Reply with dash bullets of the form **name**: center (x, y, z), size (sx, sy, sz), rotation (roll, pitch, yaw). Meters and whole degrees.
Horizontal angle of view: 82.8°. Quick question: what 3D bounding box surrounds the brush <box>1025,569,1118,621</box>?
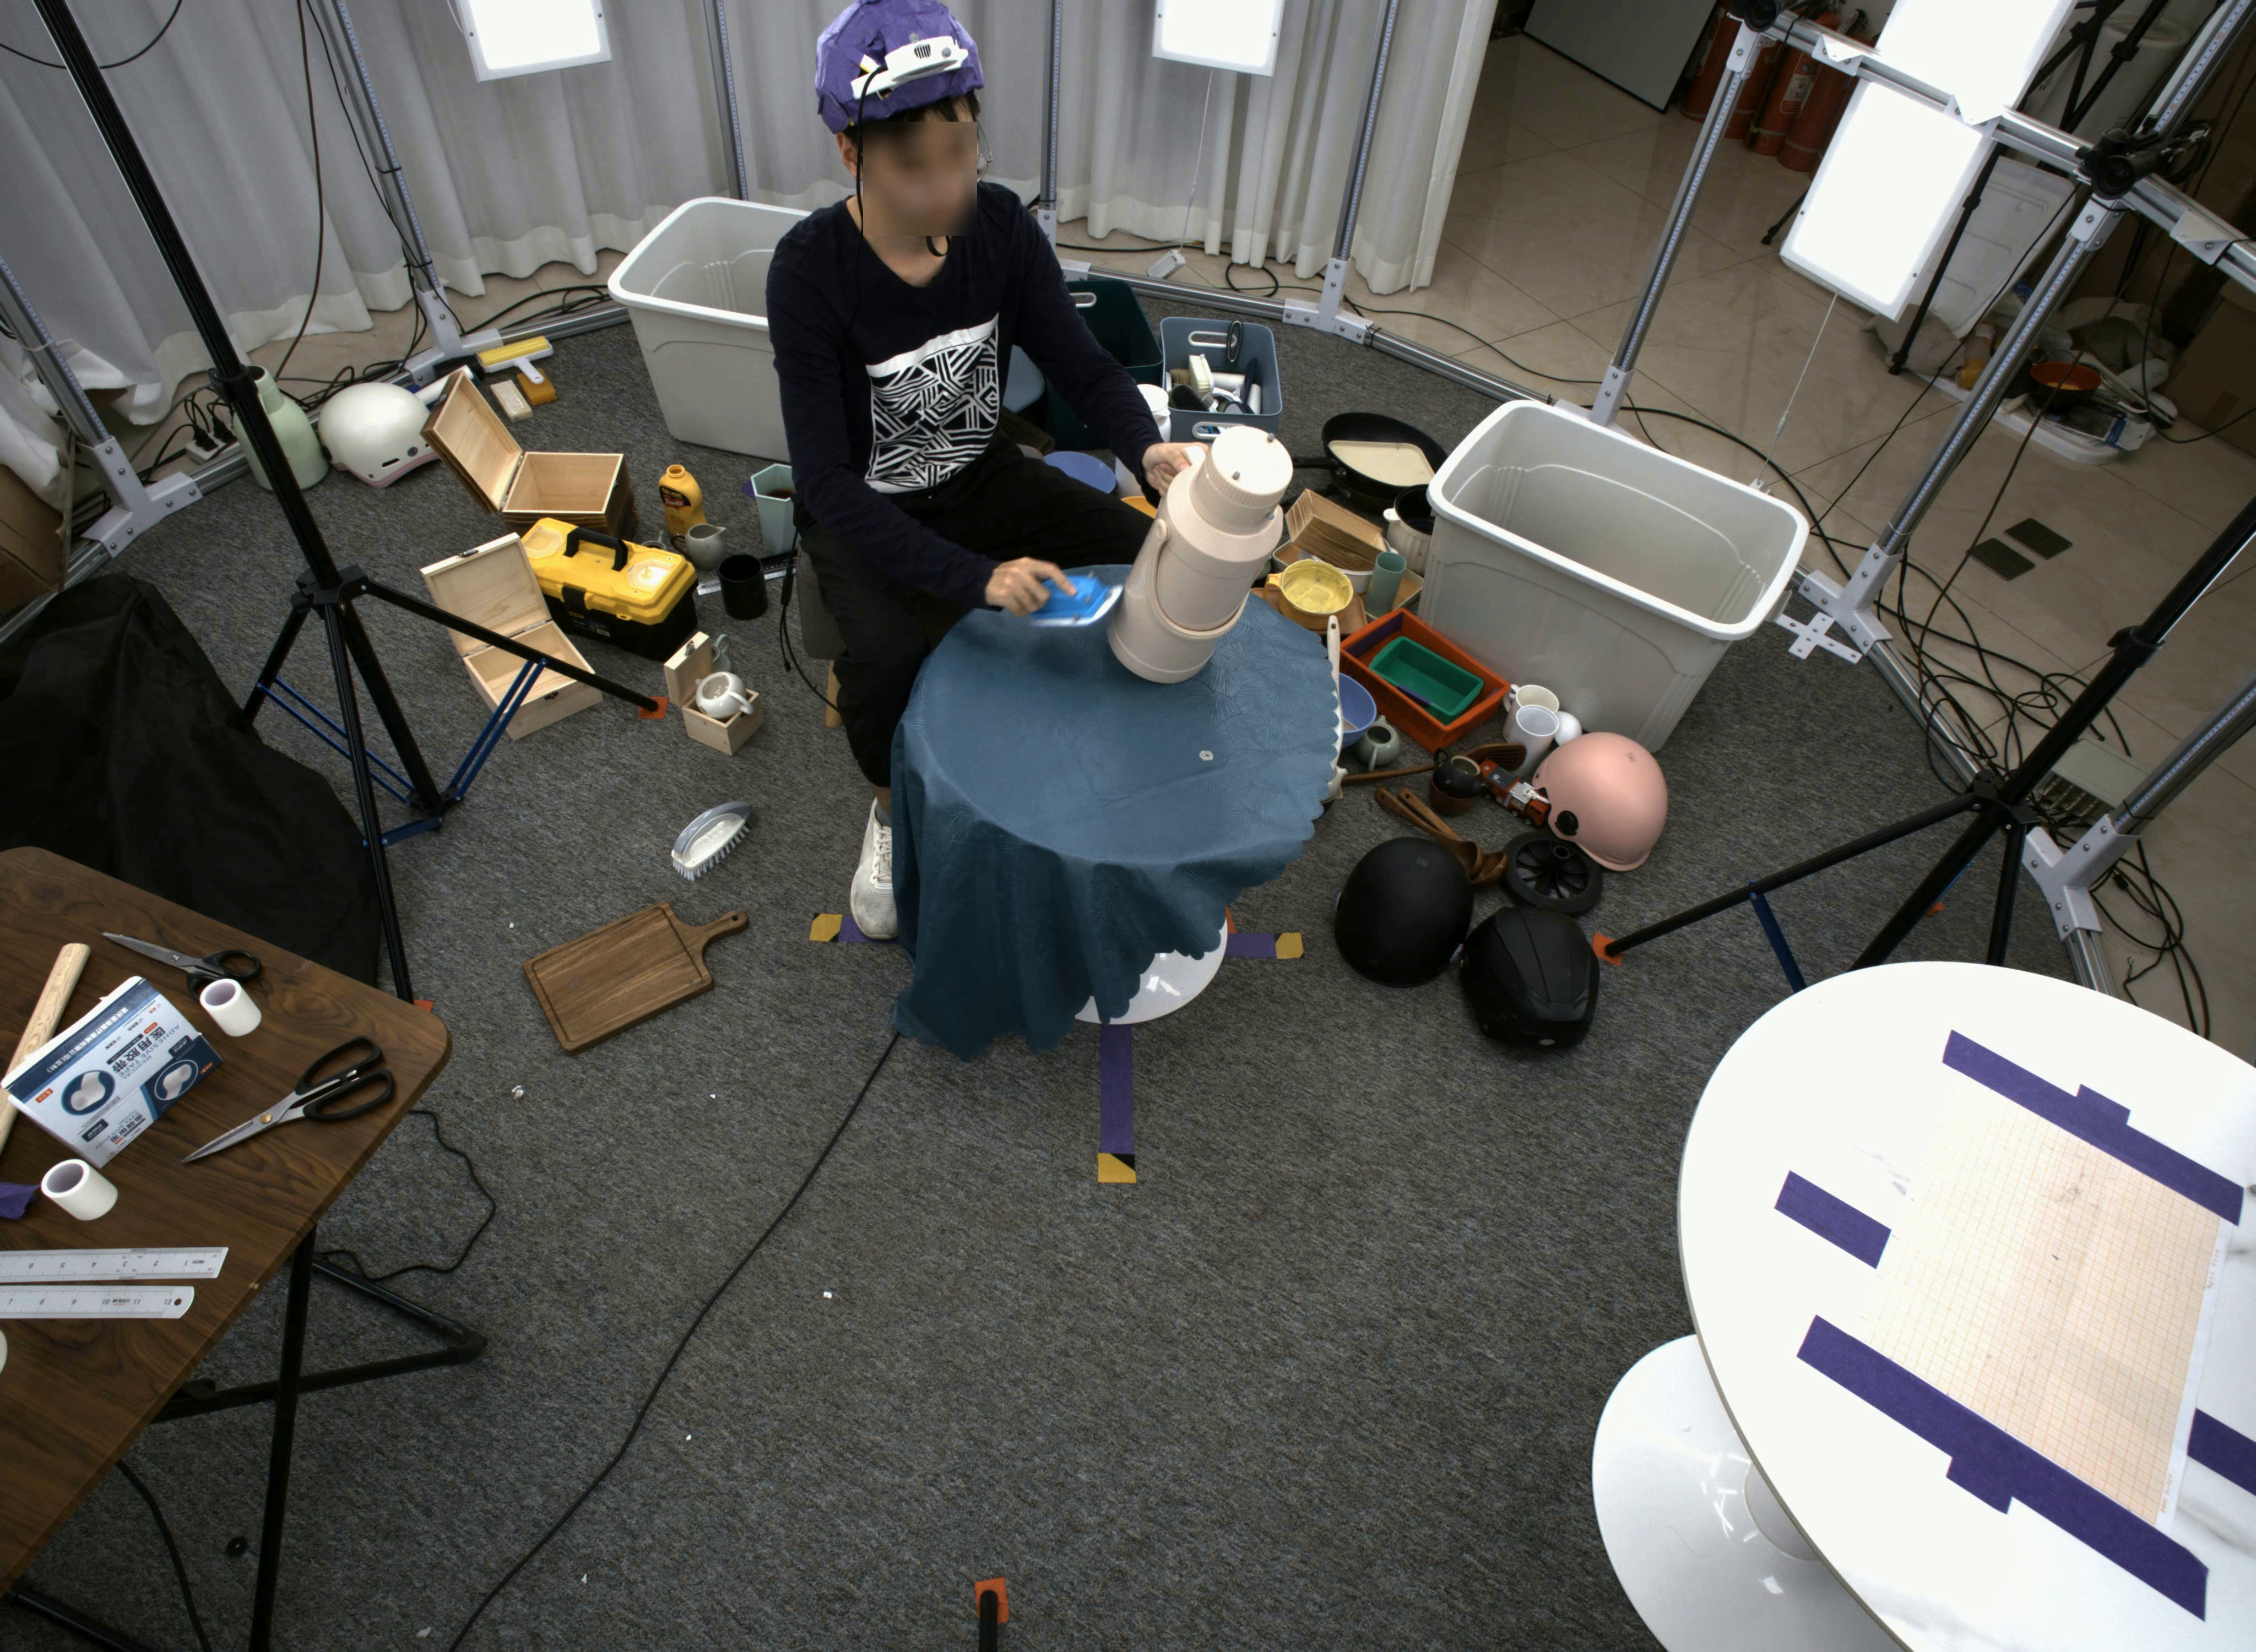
- **brush**: center (-0.085, -0.328, 1.810), size (0.145, 0.055, 0.085), rotation (9, 50, 45)

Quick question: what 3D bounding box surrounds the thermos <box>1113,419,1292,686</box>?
- **thermos**: center (0.096, -0.371, 1.719), size (0.175, 0.399, 0.210), rotation (-14, 68, -21)
